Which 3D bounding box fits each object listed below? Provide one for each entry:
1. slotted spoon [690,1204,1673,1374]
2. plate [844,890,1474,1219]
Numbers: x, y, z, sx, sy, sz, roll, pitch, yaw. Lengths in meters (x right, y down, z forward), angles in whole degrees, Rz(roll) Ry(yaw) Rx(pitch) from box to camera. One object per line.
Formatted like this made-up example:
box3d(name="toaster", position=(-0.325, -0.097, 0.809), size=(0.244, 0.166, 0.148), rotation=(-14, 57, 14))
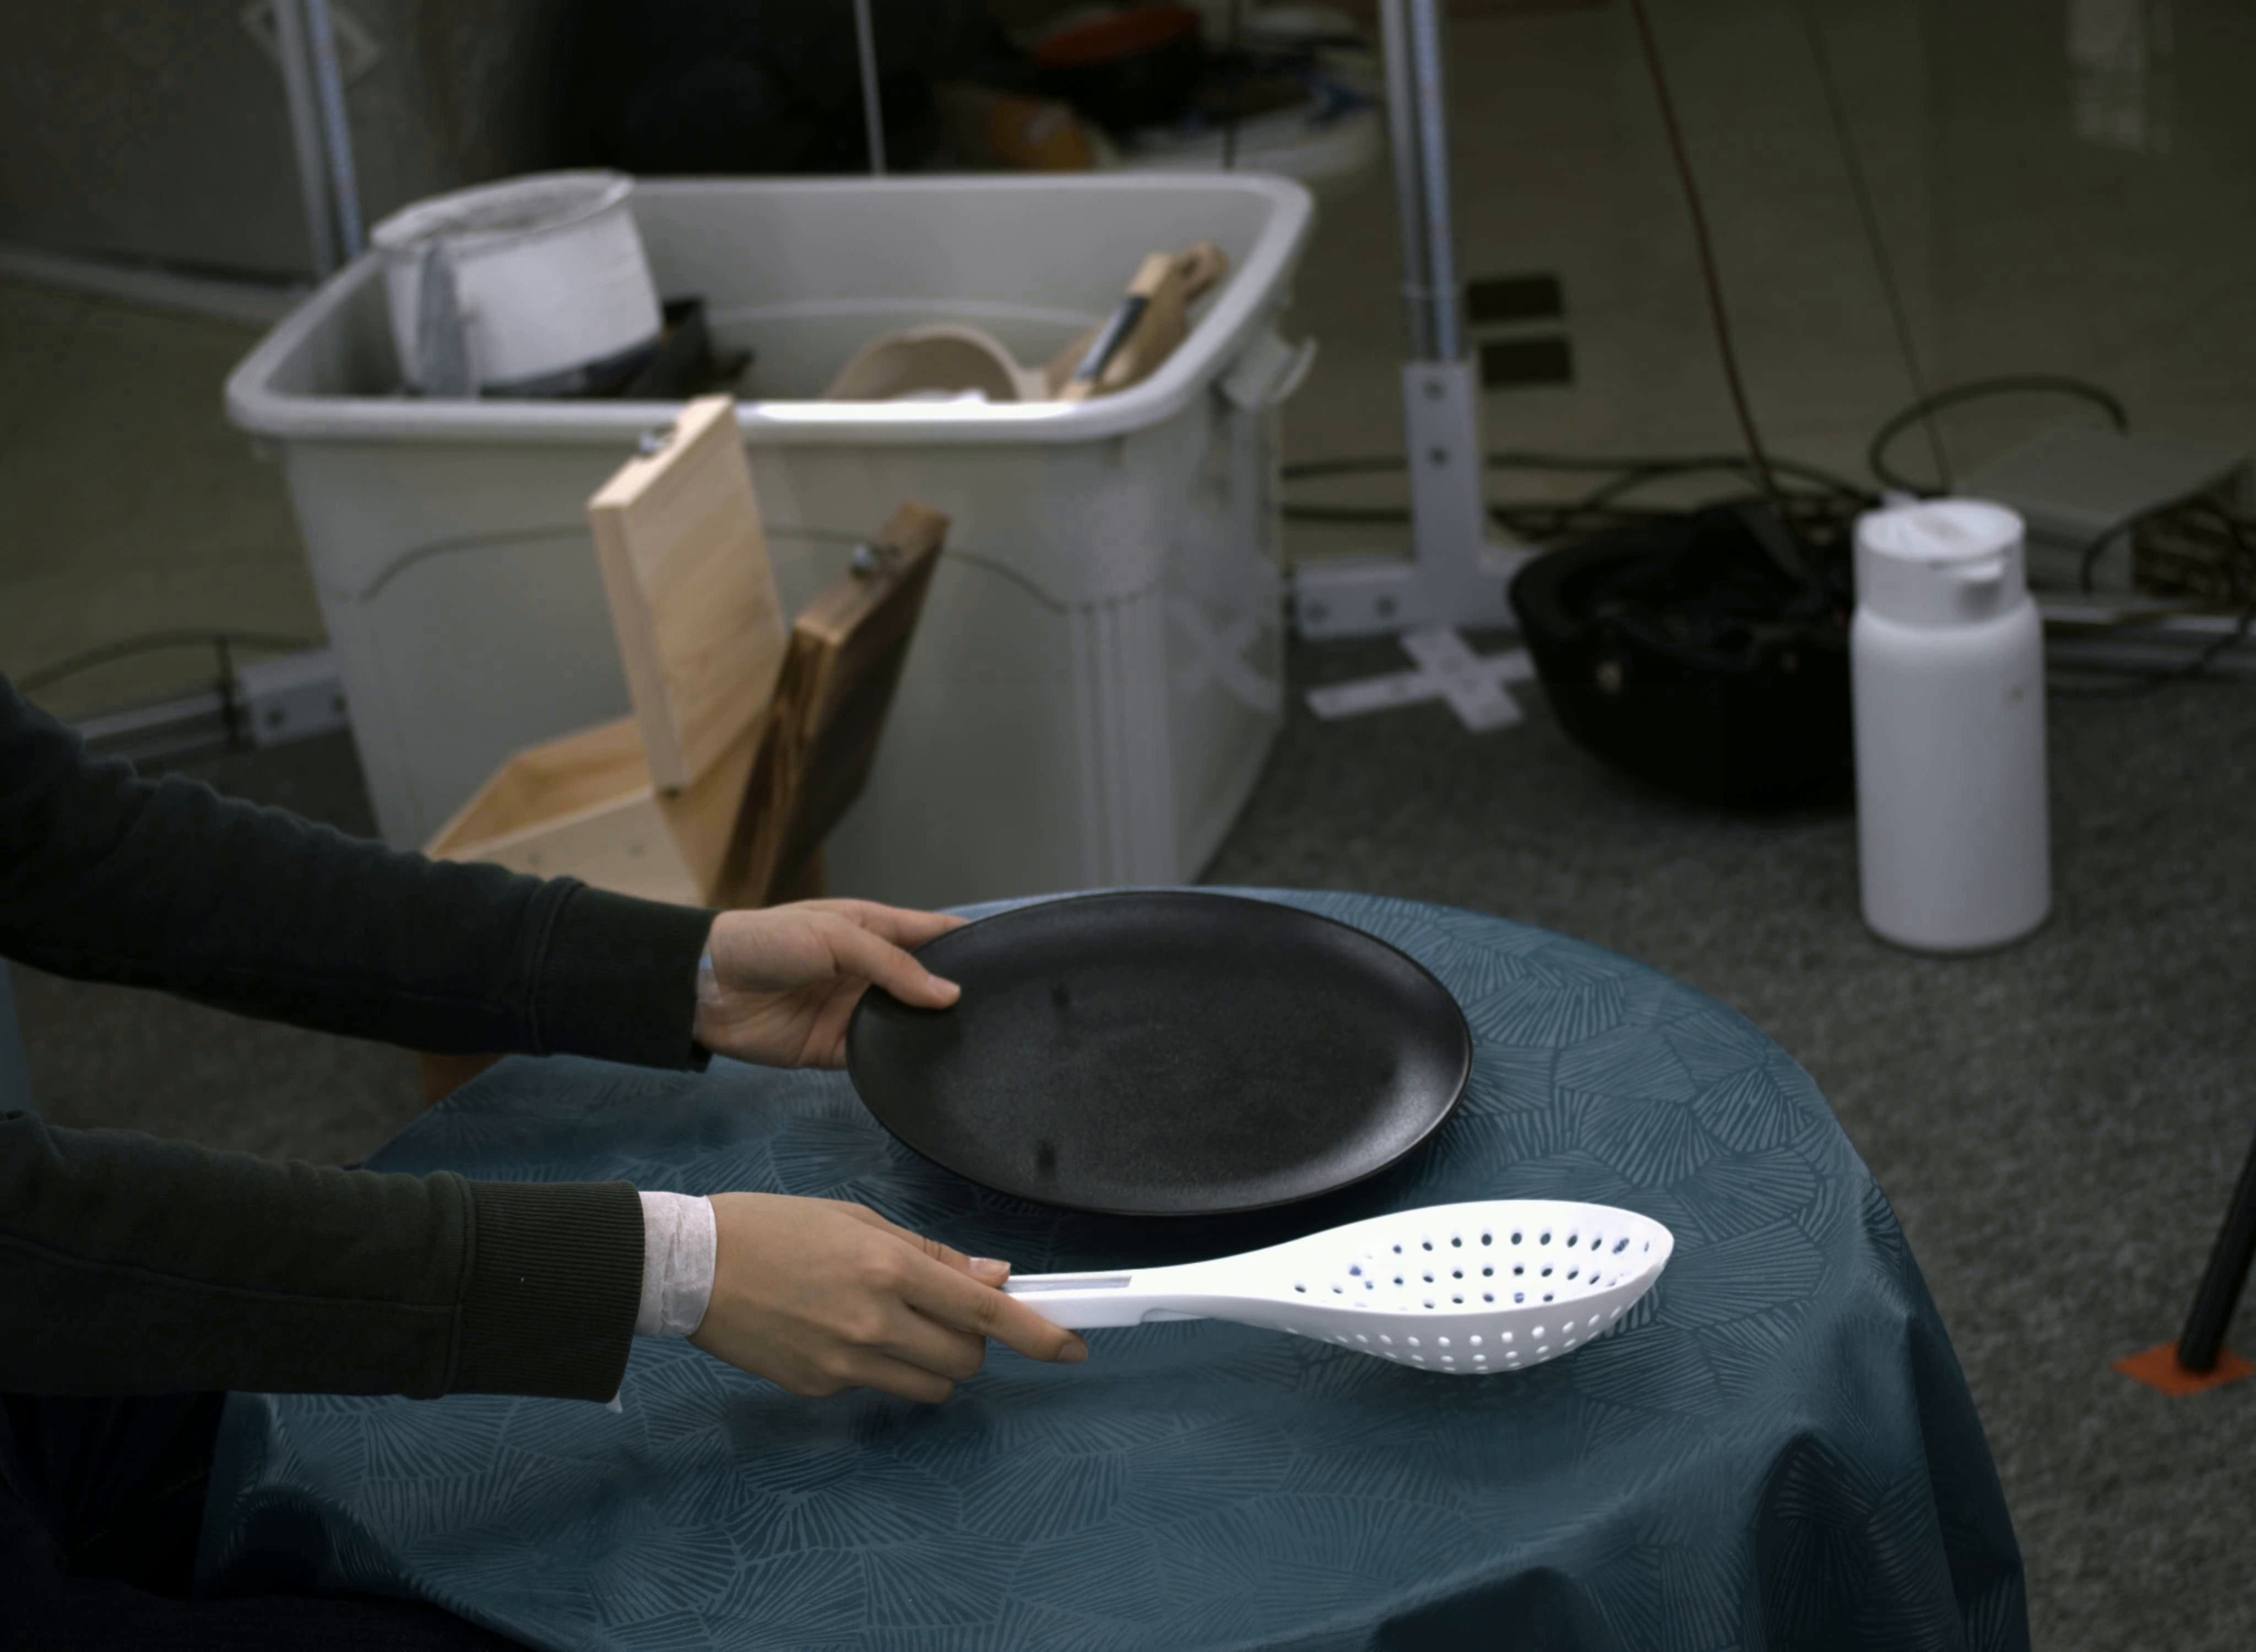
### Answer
box3d(name="slotted spoon", position=(0.017, 0.165, 2.011), size=(0.349, 0.046, 0.135), rotation=(1, 12, 6))
box3d(name="plate", position=(0.011, 0.093, 2.193), size=(0.244, 0.024, 0.240), rotation=(1, 29, 0))
